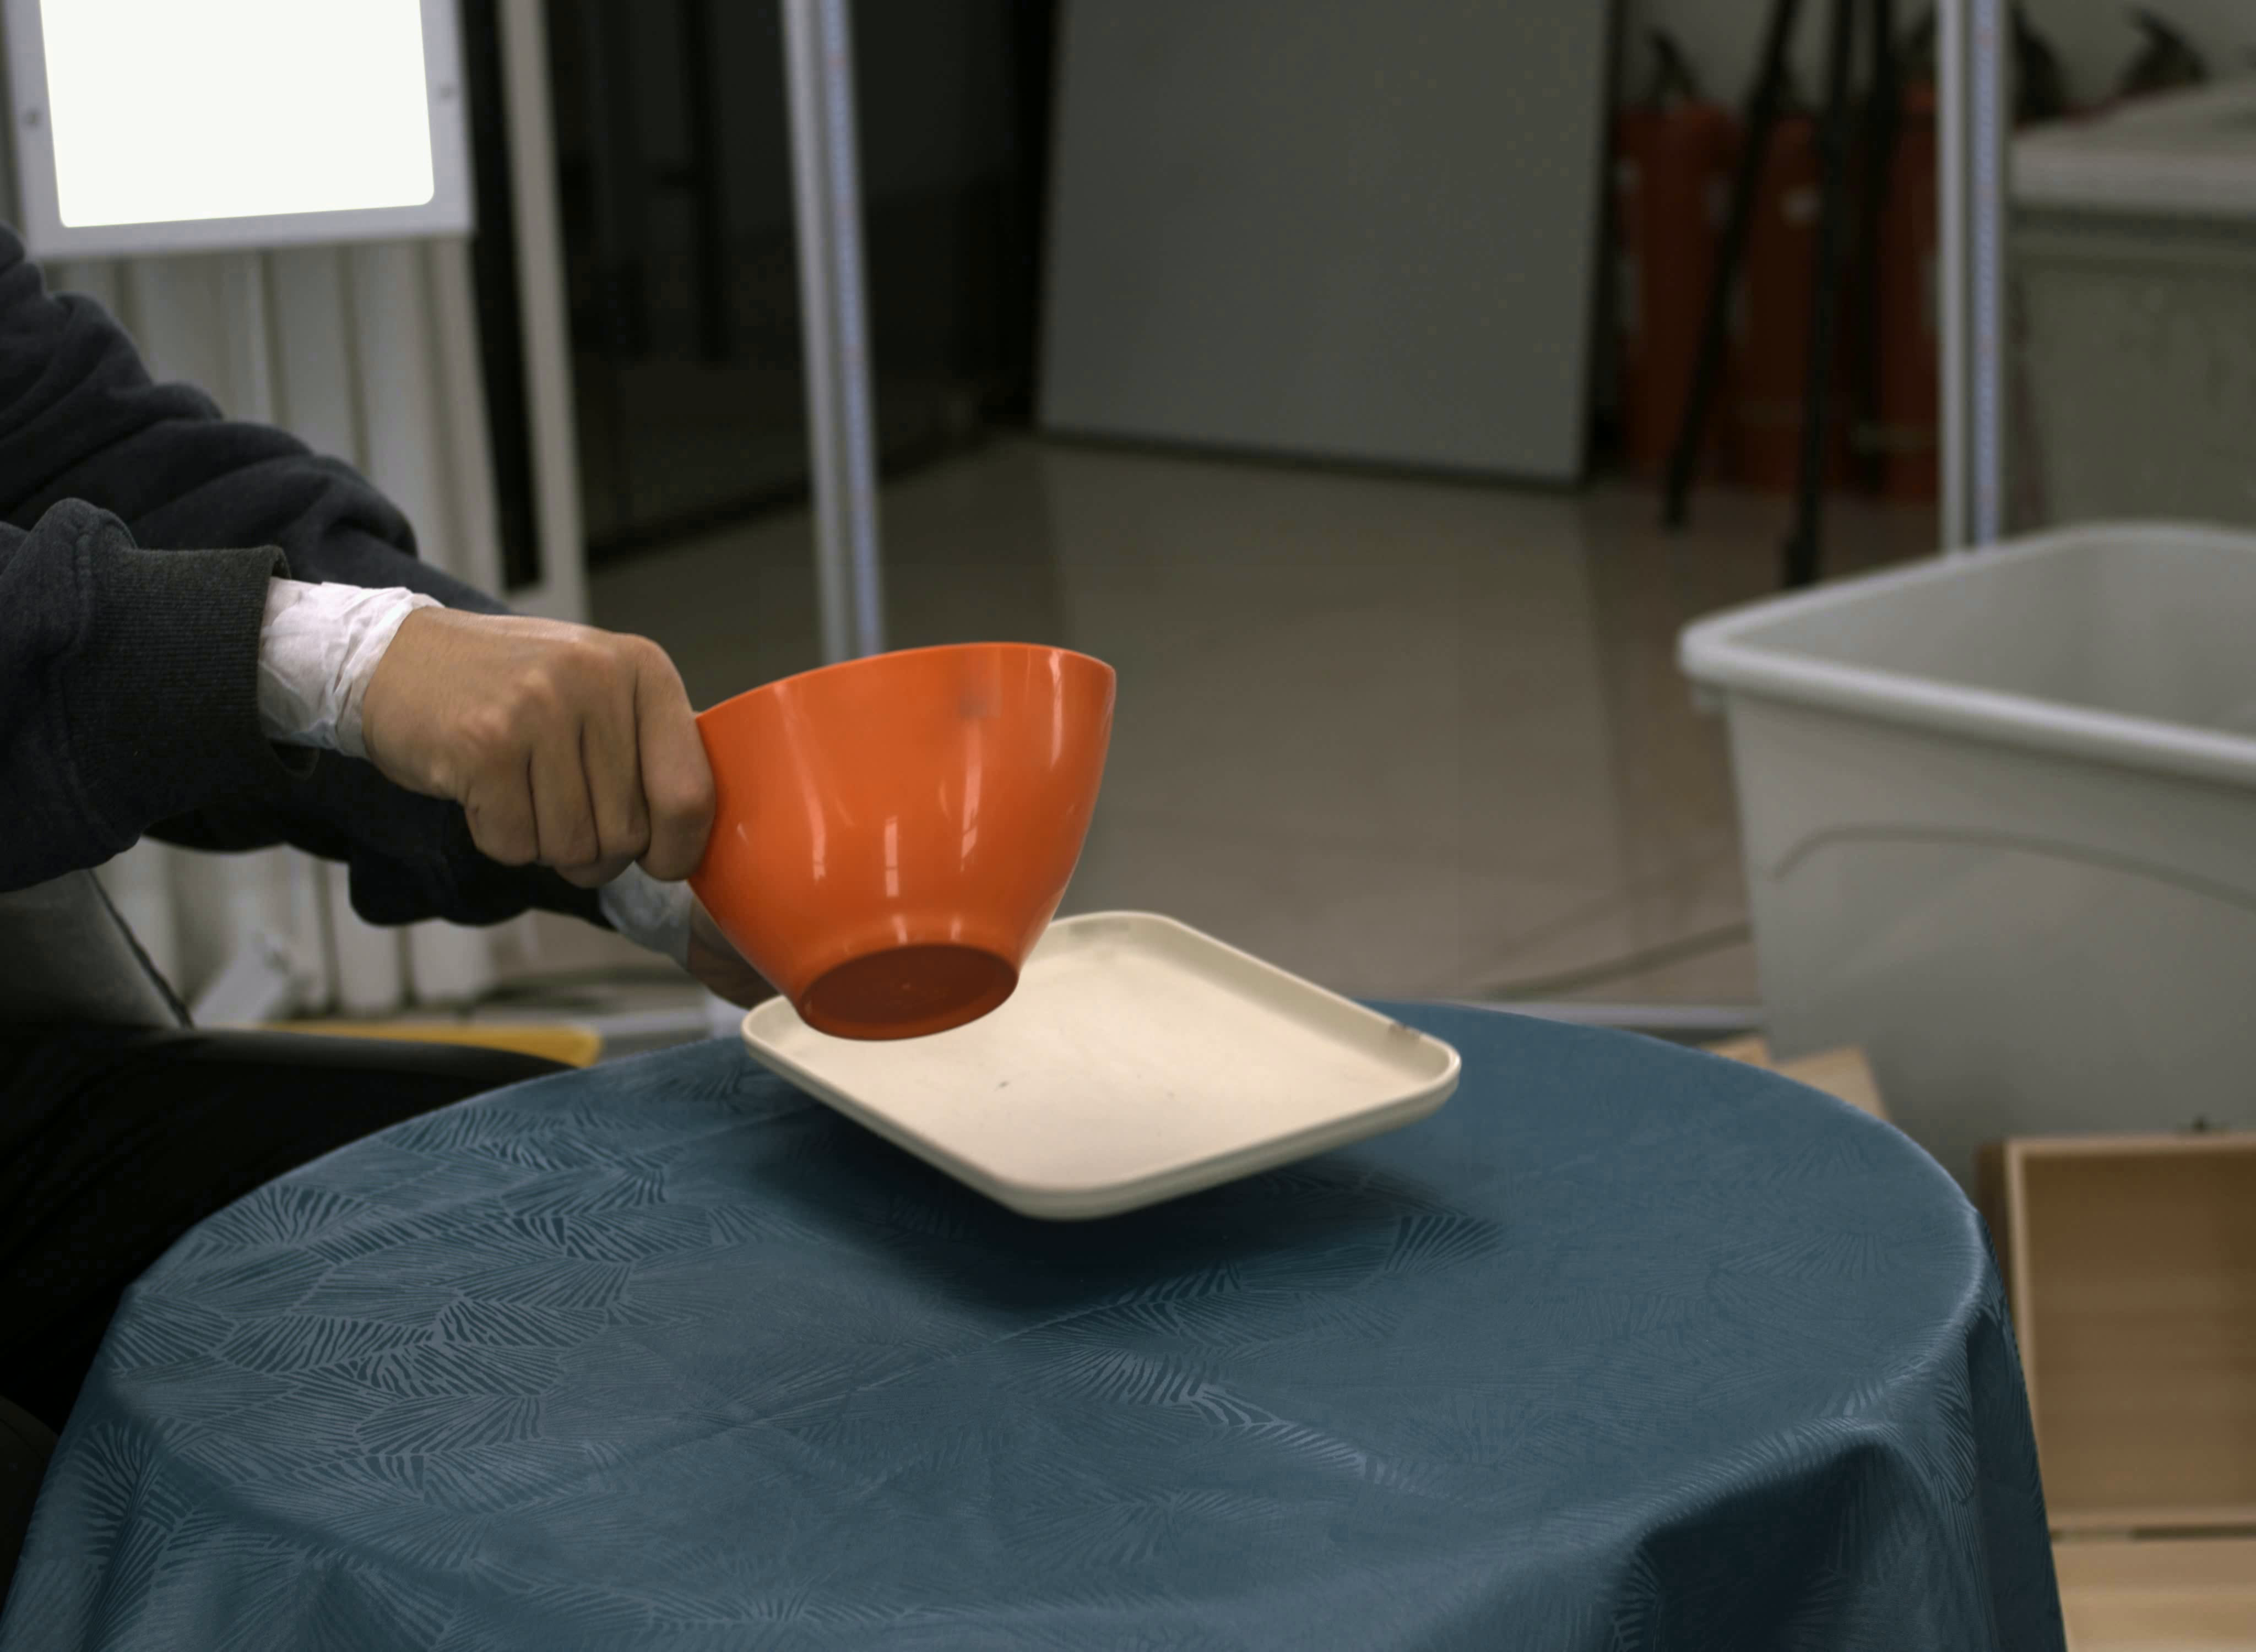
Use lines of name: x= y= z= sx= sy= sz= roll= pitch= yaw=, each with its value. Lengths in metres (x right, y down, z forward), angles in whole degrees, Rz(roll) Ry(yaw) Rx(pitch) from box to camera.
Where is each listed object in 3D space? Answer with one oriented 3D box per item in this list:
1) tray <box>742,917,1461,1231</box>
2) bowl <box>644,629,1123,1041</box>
tray: x=-0.011 y=0.080 z=1.784 sx=0.168 sy=0.017 sz=0.242 roll=-16 pitch=19 yaw=-25
bowl: x=-0.068 y=0.007 z=1.605 sx=0.146 sy=0.106 sz=0.148 roll=-6 pitch=-27 yaw=-4
